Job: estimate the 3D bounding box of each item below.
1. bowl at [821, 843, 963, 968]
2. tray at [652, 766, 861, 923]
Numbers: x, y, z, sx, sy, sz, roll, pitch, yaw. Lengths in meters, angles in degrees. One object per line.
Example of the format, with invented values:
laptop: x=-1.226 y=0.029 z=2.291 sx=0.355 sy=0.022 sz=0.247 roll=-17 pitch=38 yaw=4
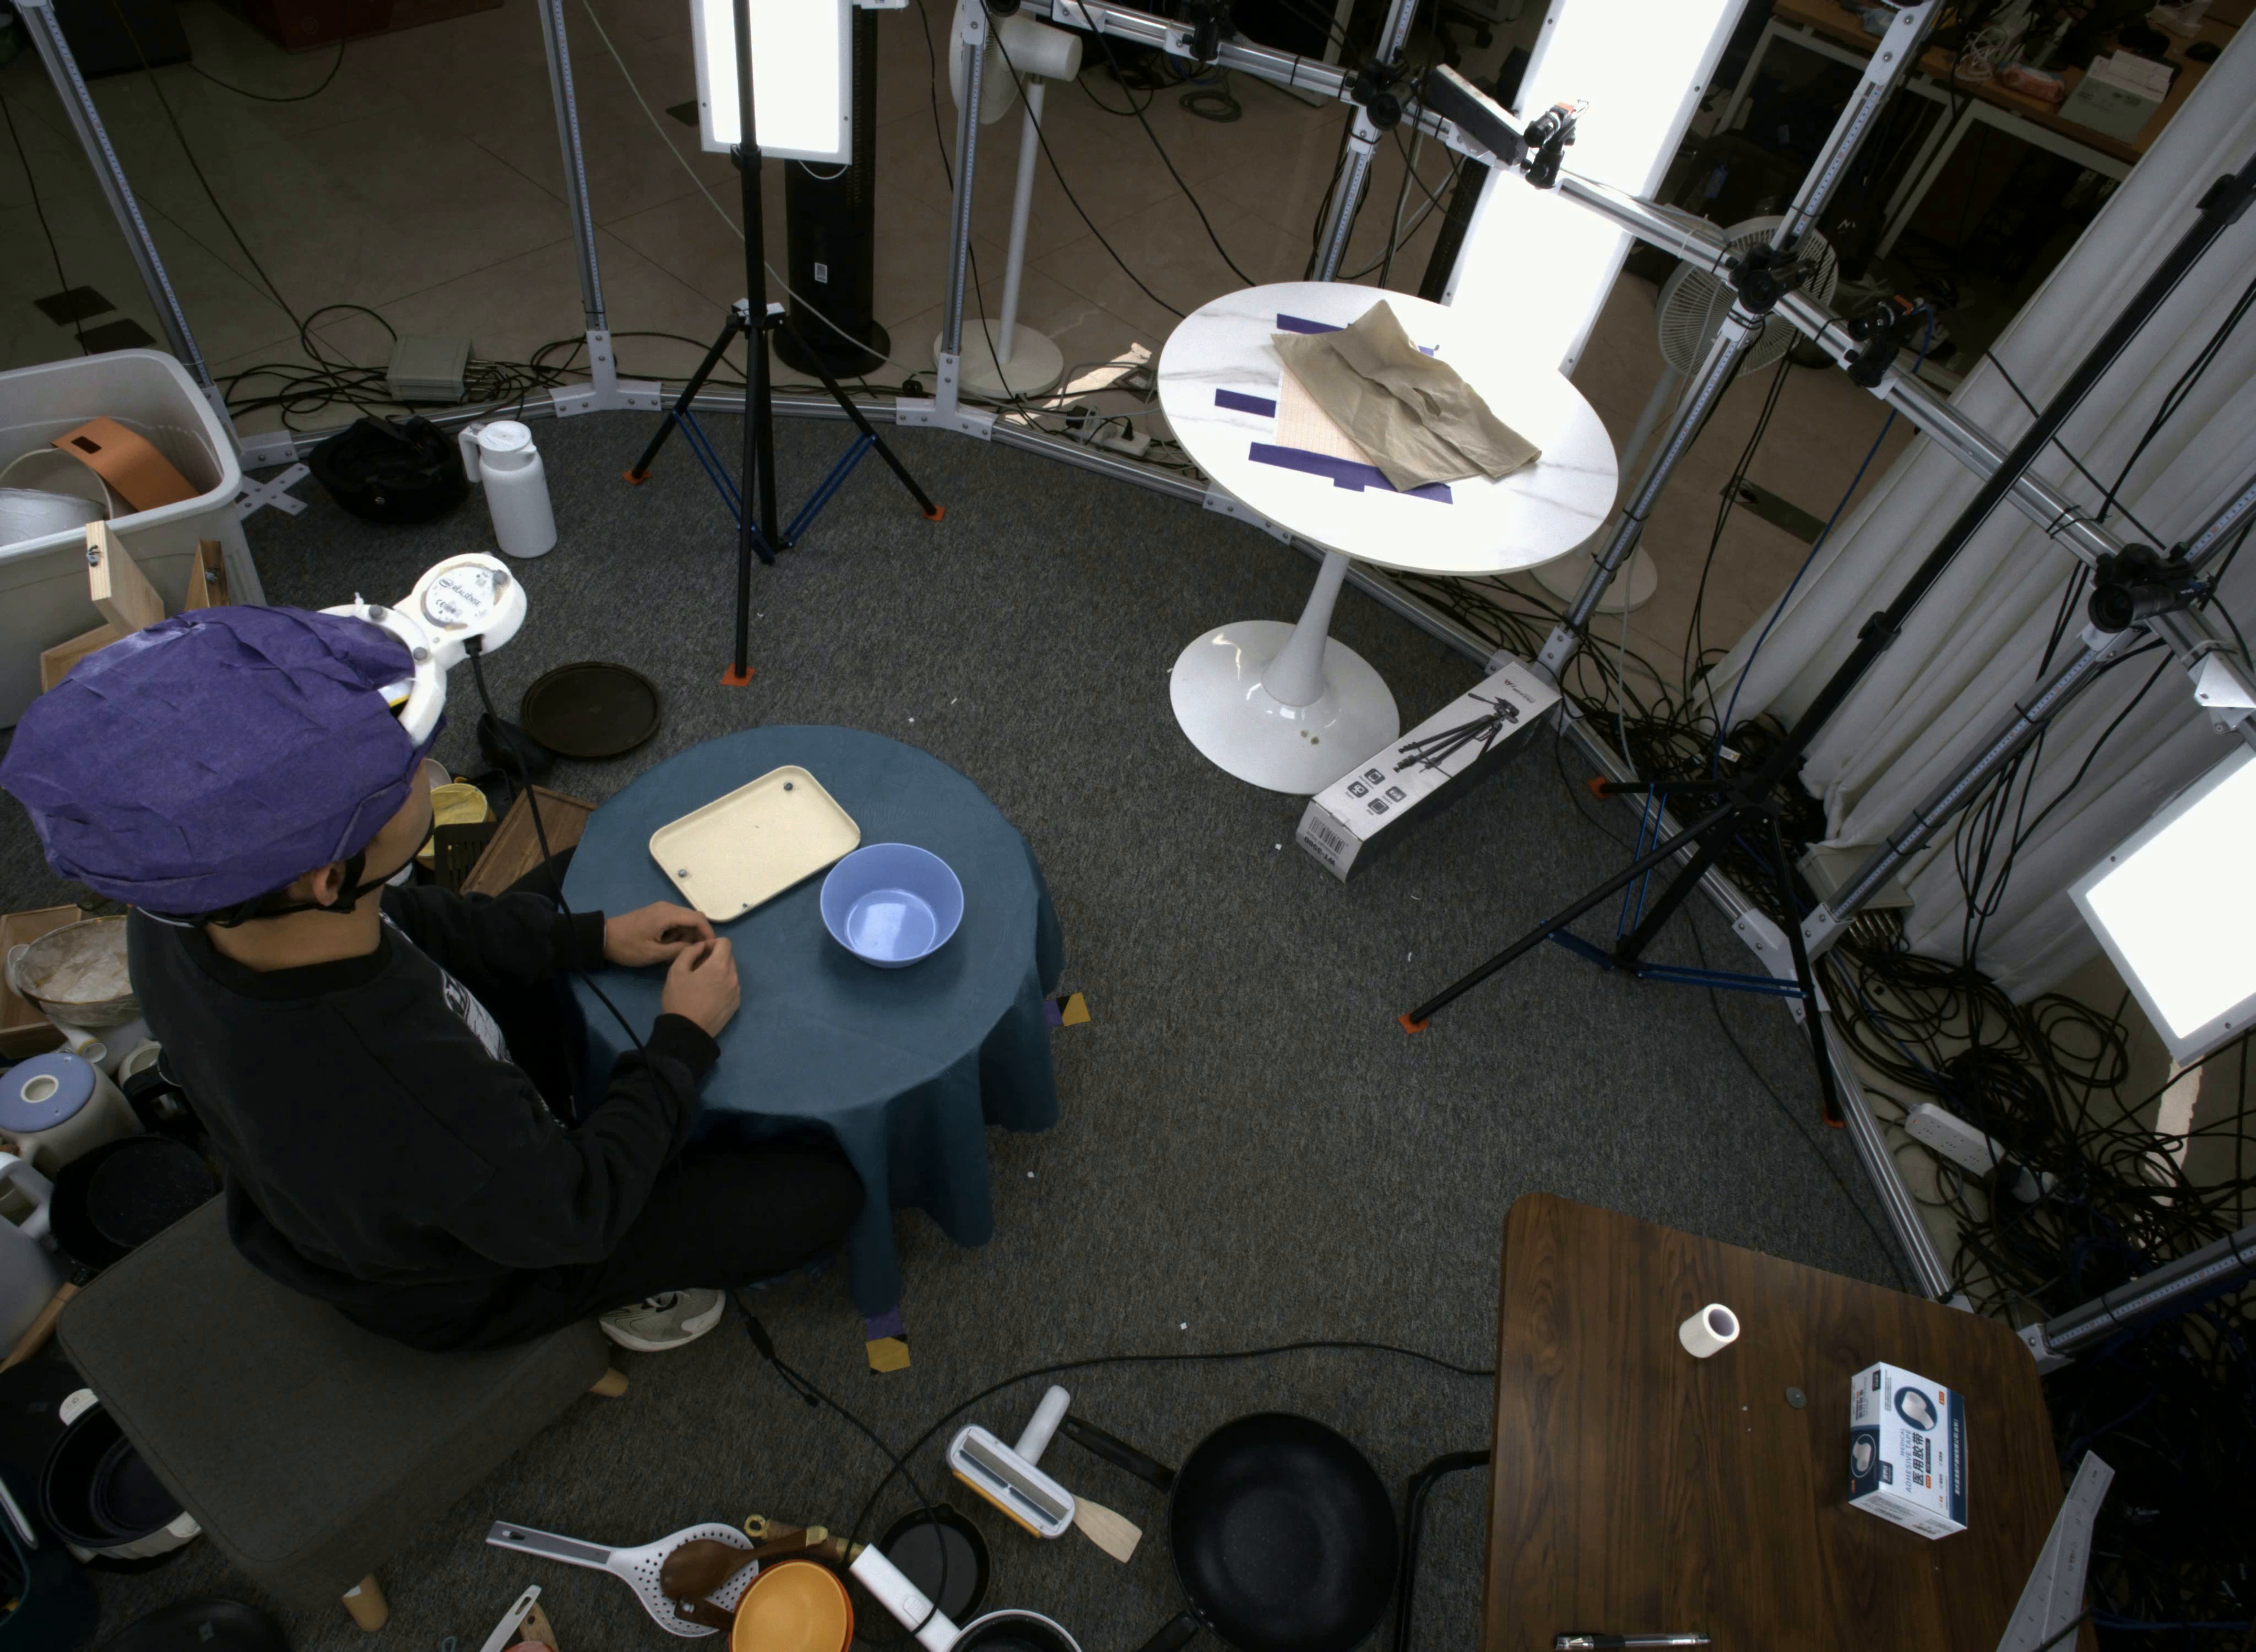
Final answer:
bowl: x=-0.295 y=0.110 z=1.635 sx=0.175 sy=0.072 sz=0.173 roll=7 pitch=52 yaw=-8
tray: x=-0.483 y=0.021 z=1.687 sx=0.240 sy=0.018 sz=0.167 roll=-33 pitch=67 yaw=-32
